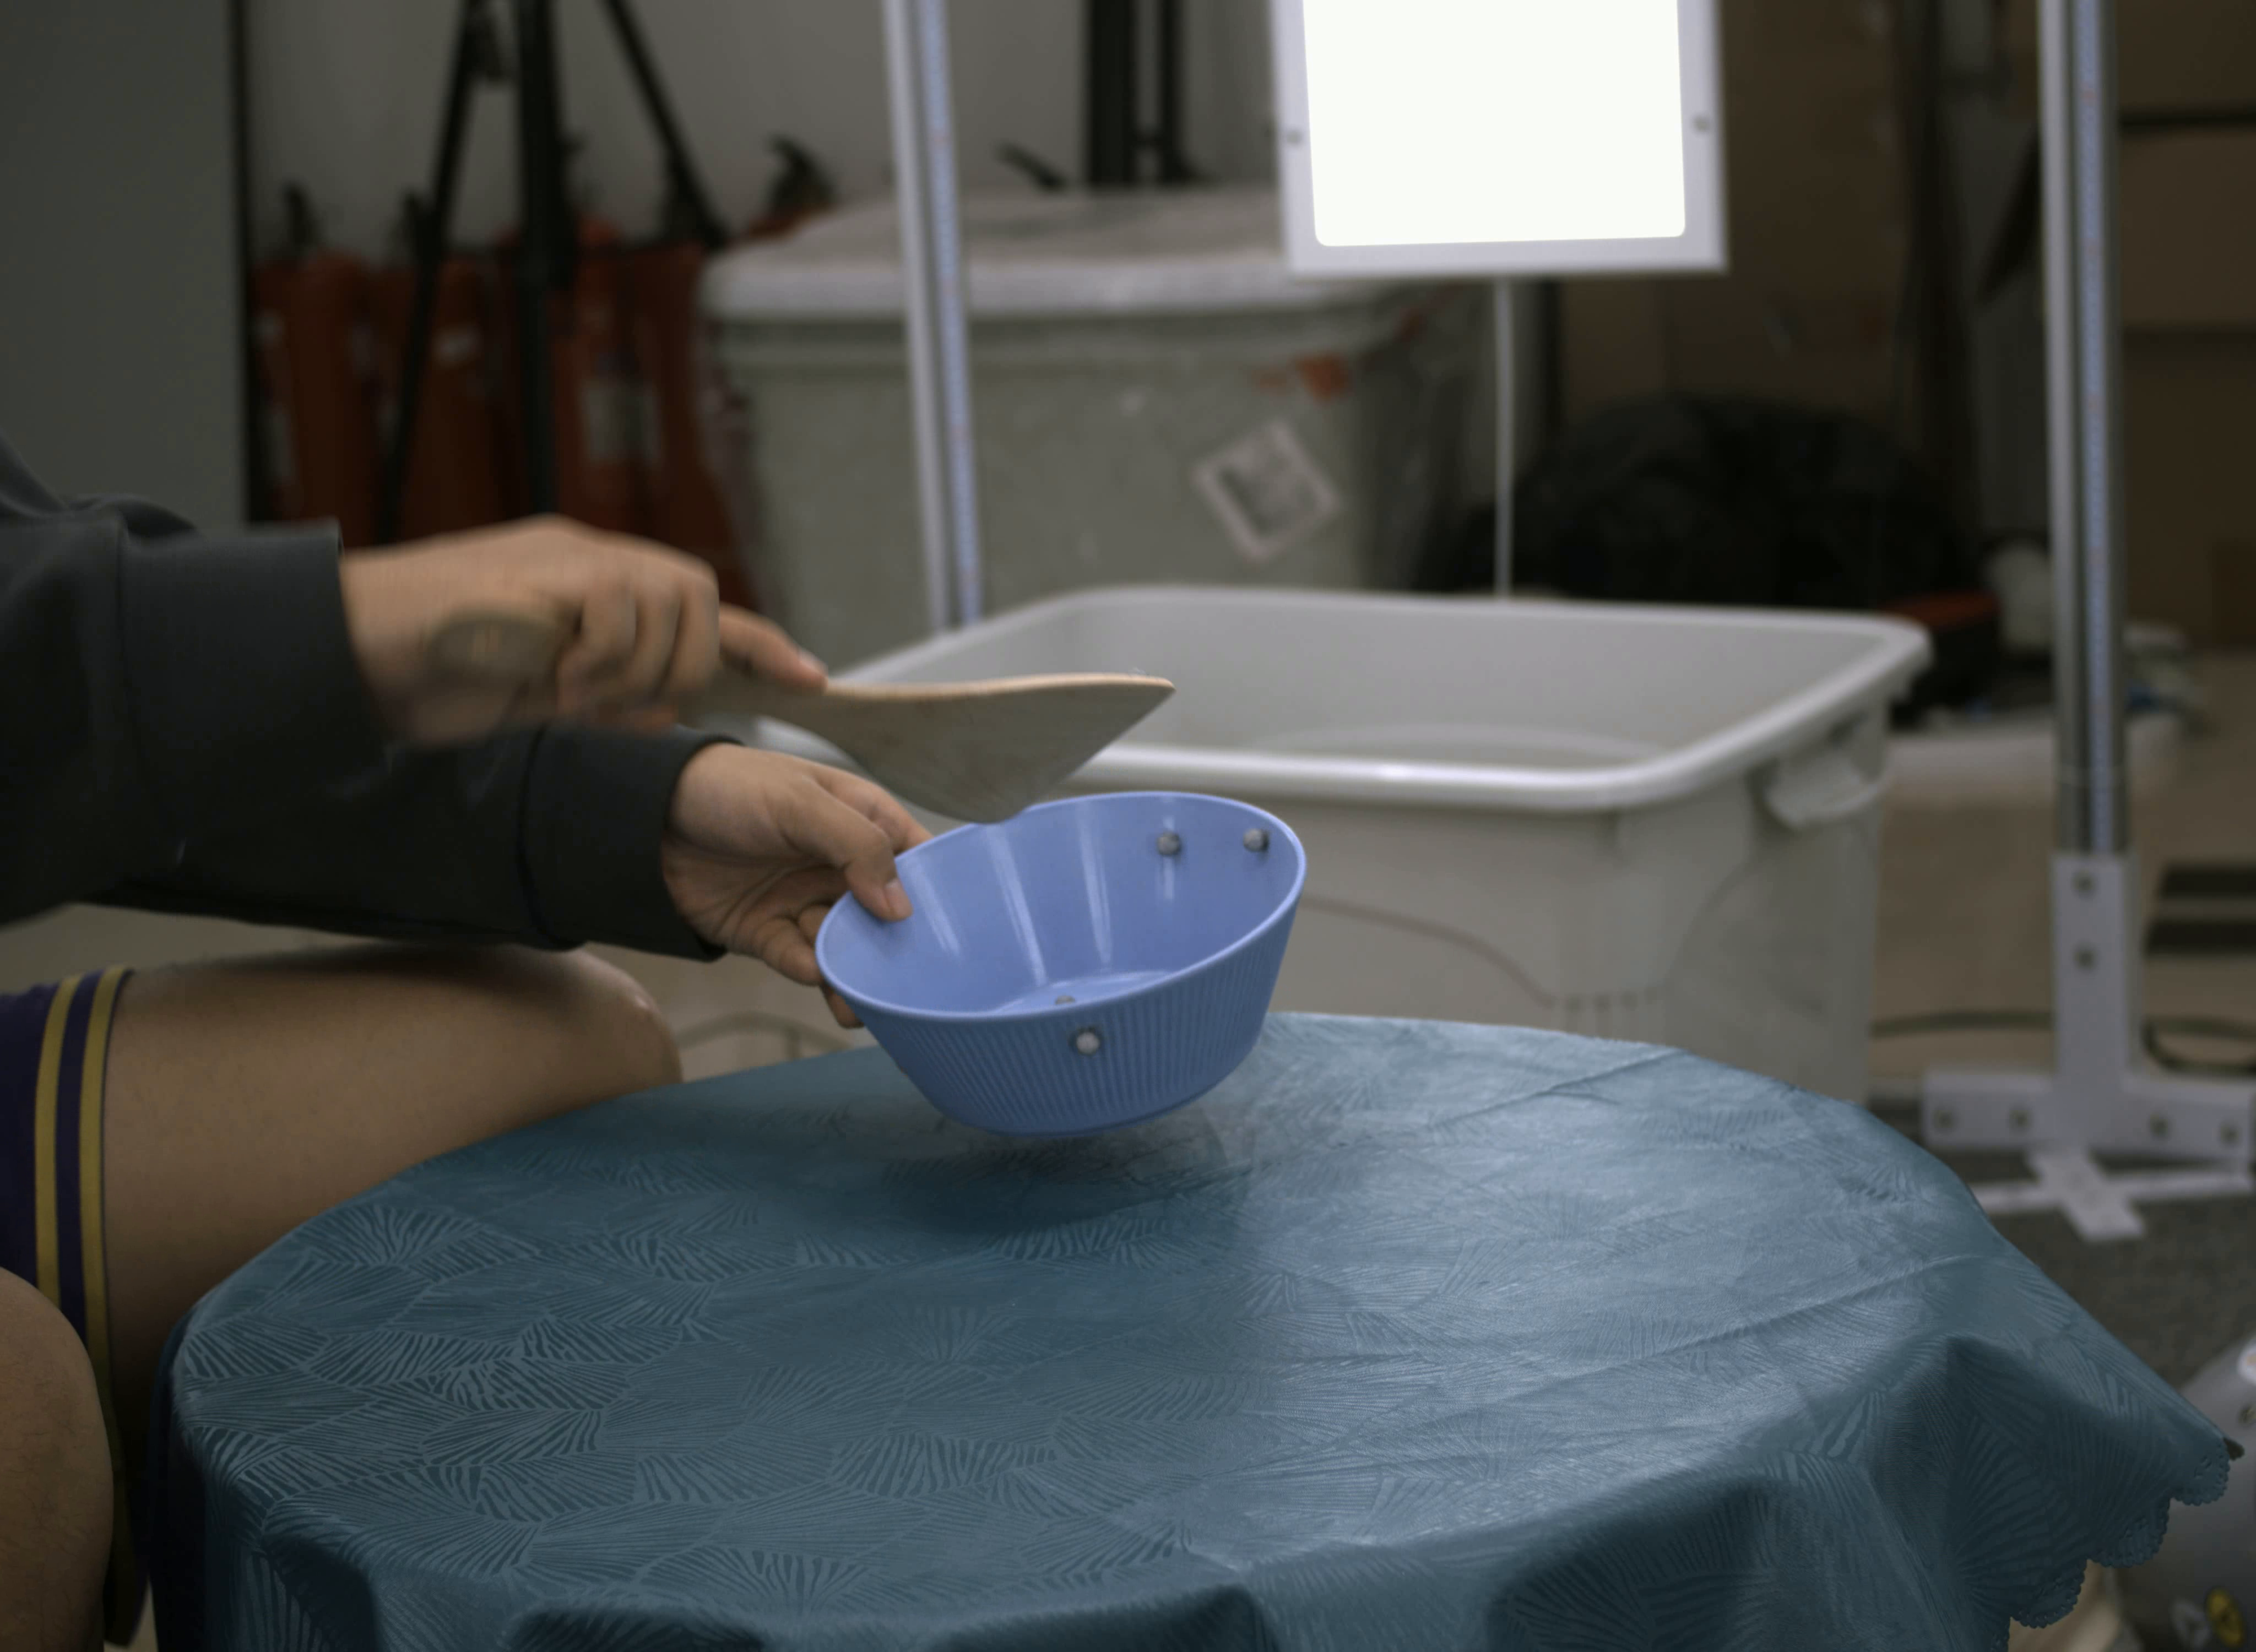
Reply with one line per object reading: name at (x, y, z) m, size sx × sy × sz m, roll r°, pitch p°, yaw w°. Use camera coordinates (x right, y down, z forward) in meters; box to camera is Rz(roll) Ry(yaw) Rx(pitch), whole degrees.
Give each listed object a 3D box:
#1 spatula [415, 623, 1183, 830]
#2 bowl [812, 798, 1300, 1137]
spatula at (-0.102, -0.035, 1.700) m, size 0.081 × 0.016 × 0.320 m, roll -42°, pitch -30°, yaw 28°
bowl at (-0.020, 0.055, 1.947) m, size 0.176 × 0.070 × 0.175 m, roll -11°, pitch 22°, yaw 3°
